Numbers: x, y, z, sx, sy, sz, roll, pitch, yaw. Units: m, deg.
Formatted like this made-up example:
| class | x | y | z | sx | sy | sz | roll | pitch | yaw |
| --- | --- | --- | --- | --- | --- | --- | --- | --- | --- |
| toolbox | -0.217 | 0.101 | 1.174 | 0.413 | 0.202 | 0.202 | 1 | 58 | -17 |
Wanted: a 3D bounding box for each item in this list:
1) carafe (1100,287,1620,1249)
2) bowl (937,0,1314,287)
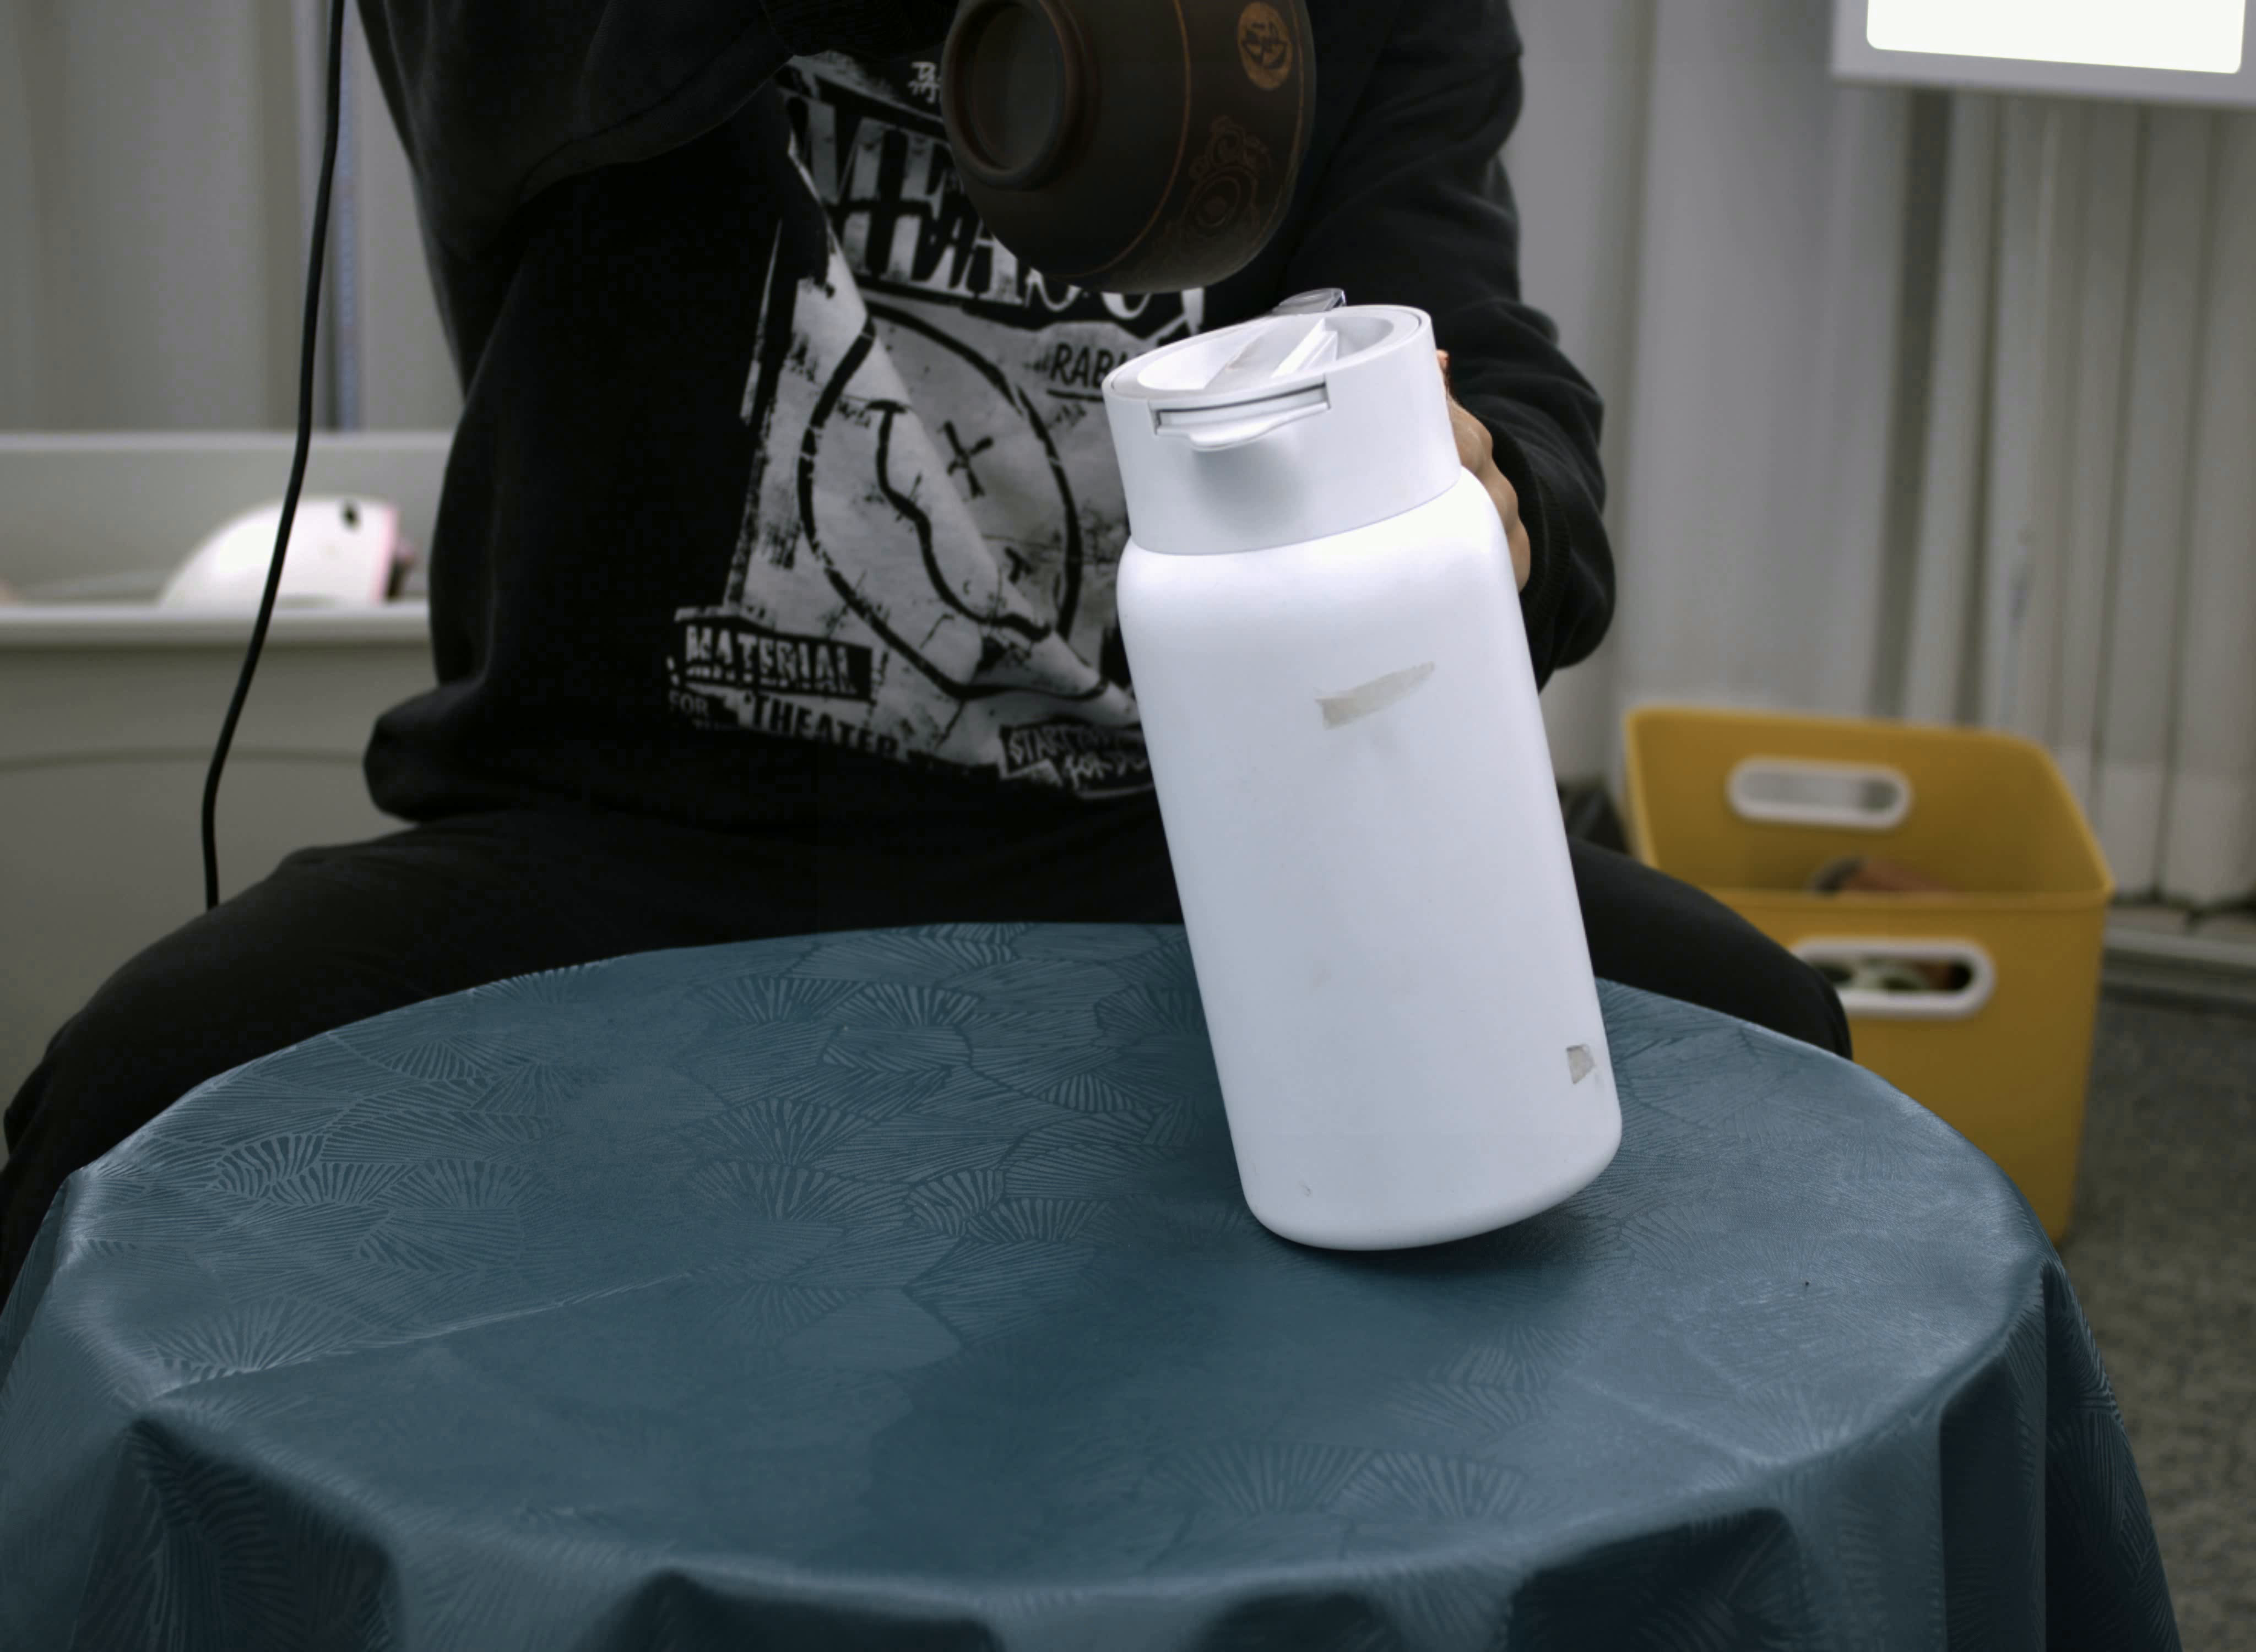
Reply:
| class | x | y | z | sx | sy | sz | roll | pitch | yaw |
| --- | --- | --- | --- | --- | --- | --- | --- | --- | --- |
| carafe | 0.069 | -0.021 | 1.578 | 0.123 | 0.271 | 0.172 | -10 | 17 | 16 |
| bowl | -0.010 | -0.211 | 1.479 | 0.070 | 0.119 | 0.116 | -6 | 17 | -40 |
